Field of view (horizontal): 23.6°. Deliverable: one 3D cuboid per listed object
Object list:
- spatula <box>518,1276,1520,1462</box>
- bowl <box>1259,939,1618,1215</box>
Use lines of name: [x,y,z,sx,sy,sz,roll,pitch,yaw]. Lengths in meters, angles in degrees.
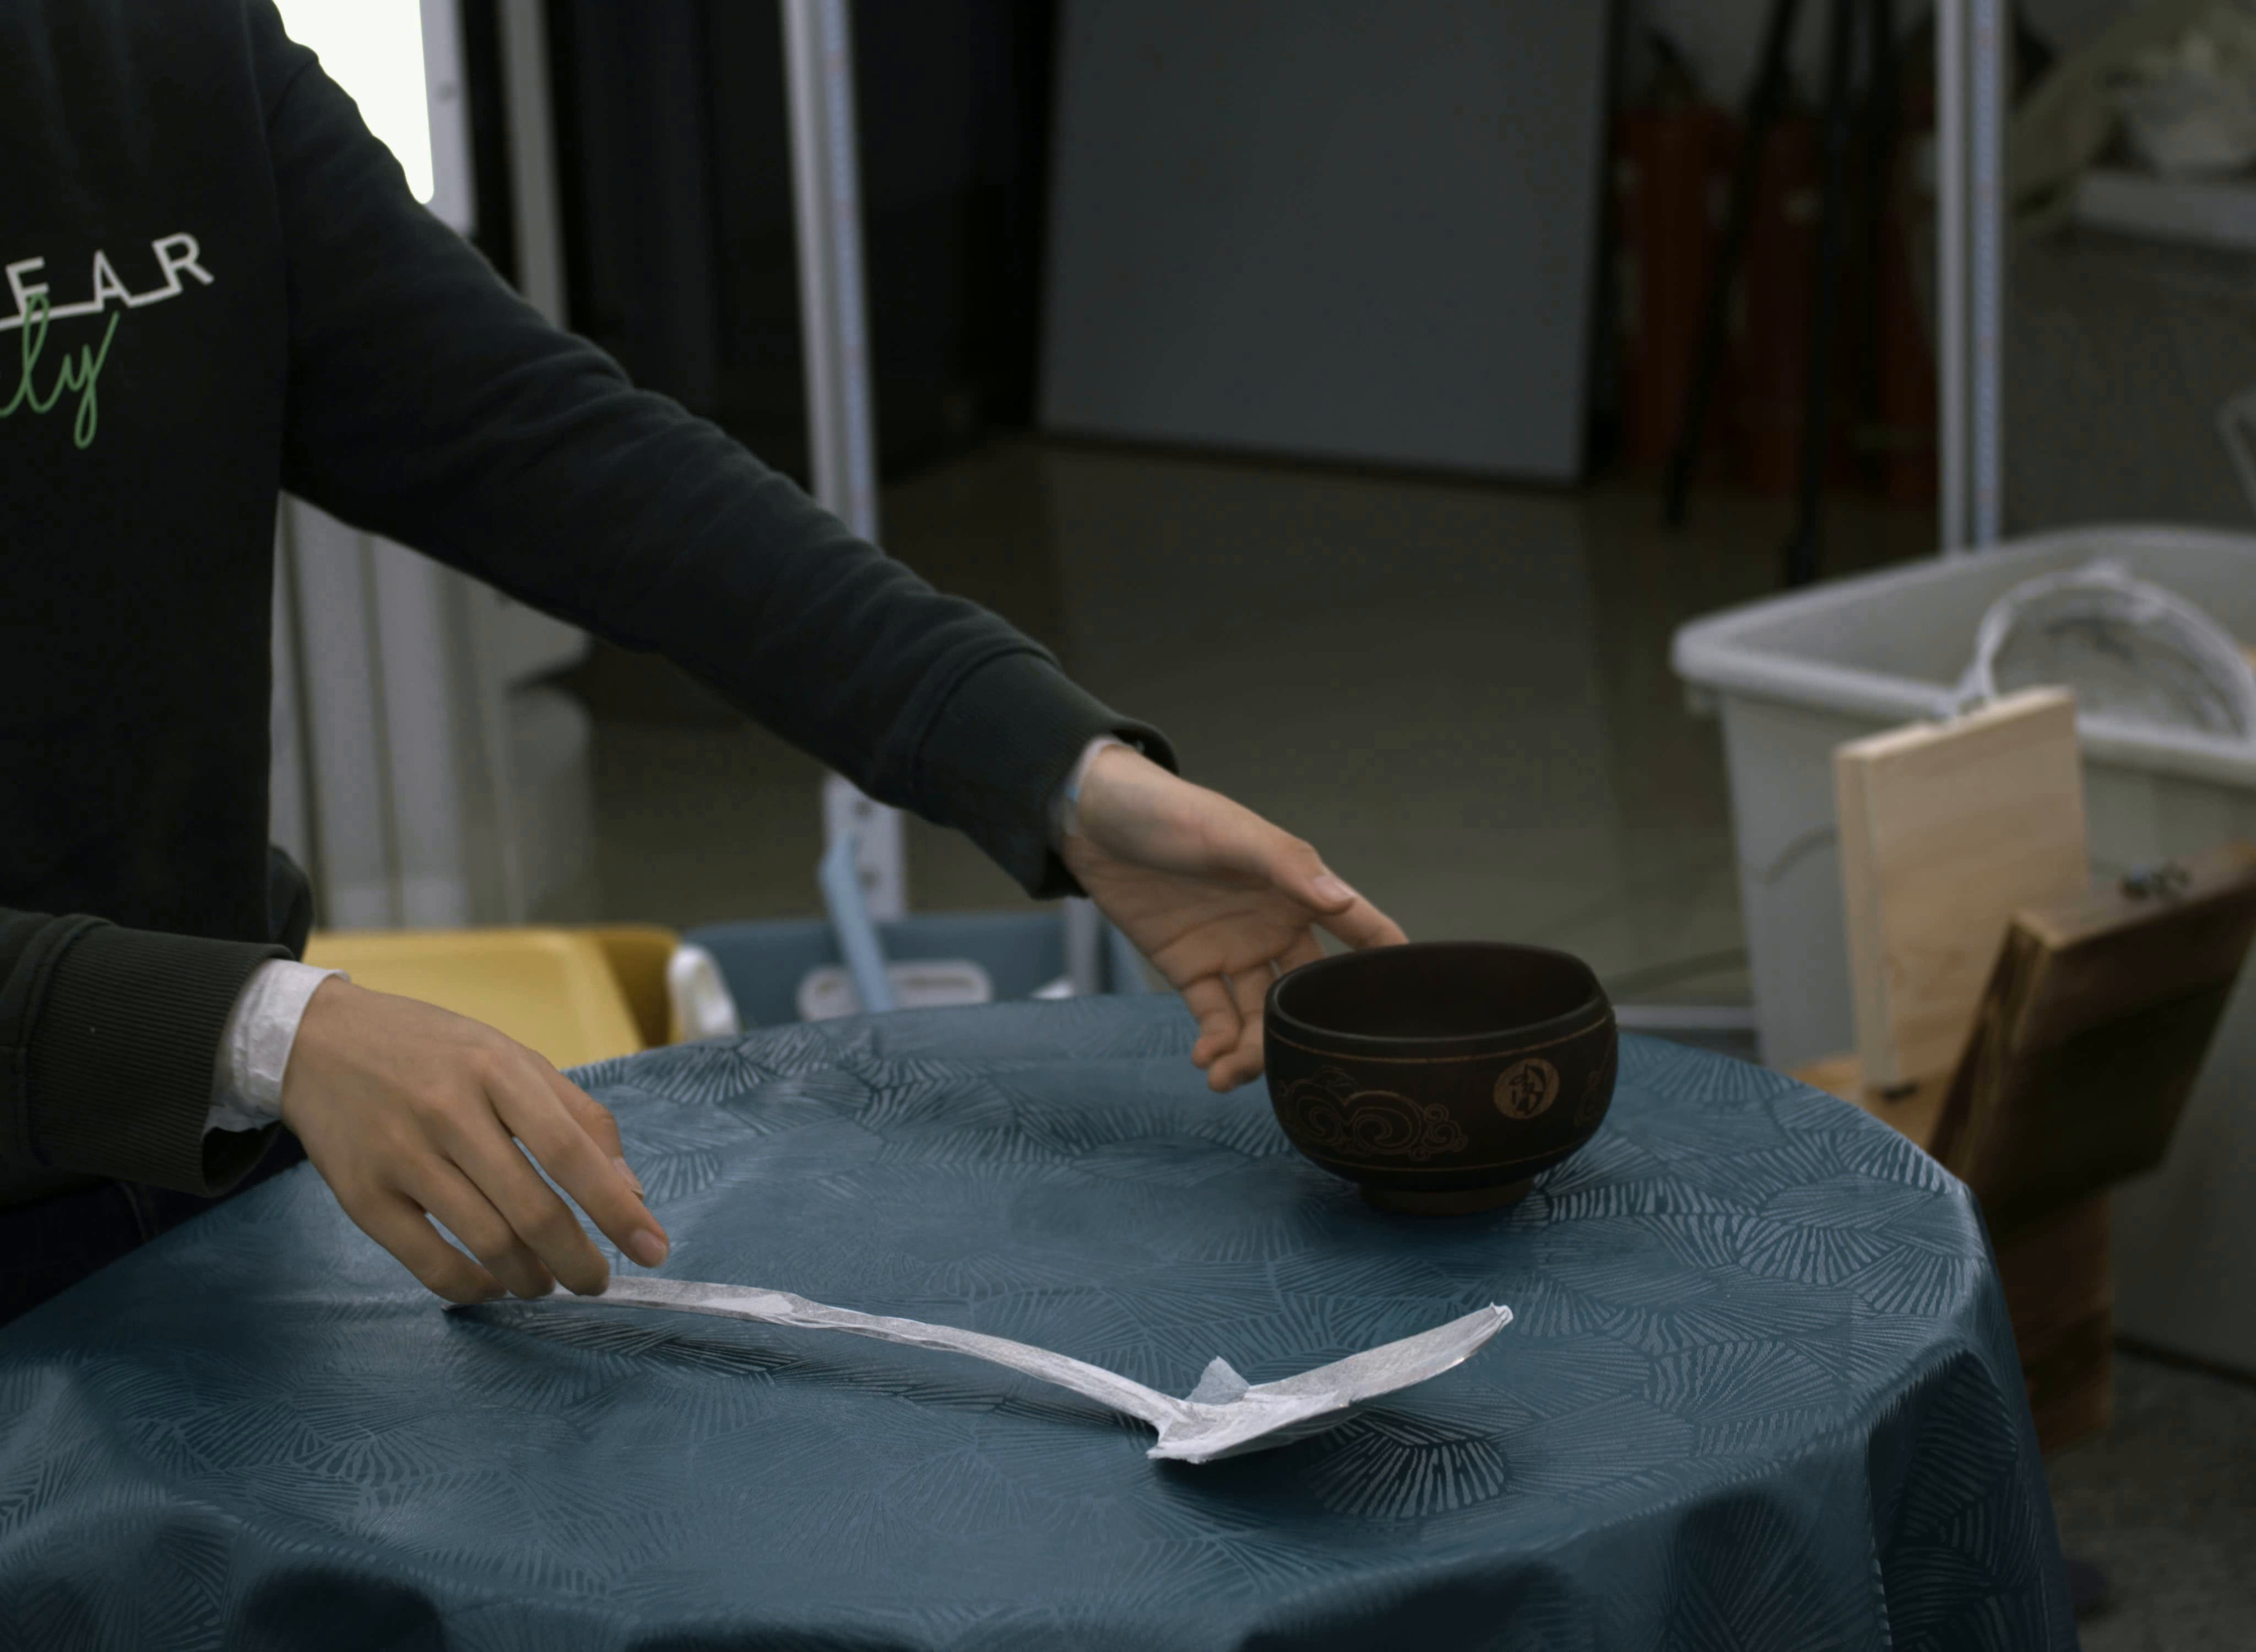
spatula: [-0.051,0.148,1.597,0.367,0.045,0.097,6,19,35]
bowl: [0.102,0.084,1.742,0.116,0.070,0.118,-5,12,0]
